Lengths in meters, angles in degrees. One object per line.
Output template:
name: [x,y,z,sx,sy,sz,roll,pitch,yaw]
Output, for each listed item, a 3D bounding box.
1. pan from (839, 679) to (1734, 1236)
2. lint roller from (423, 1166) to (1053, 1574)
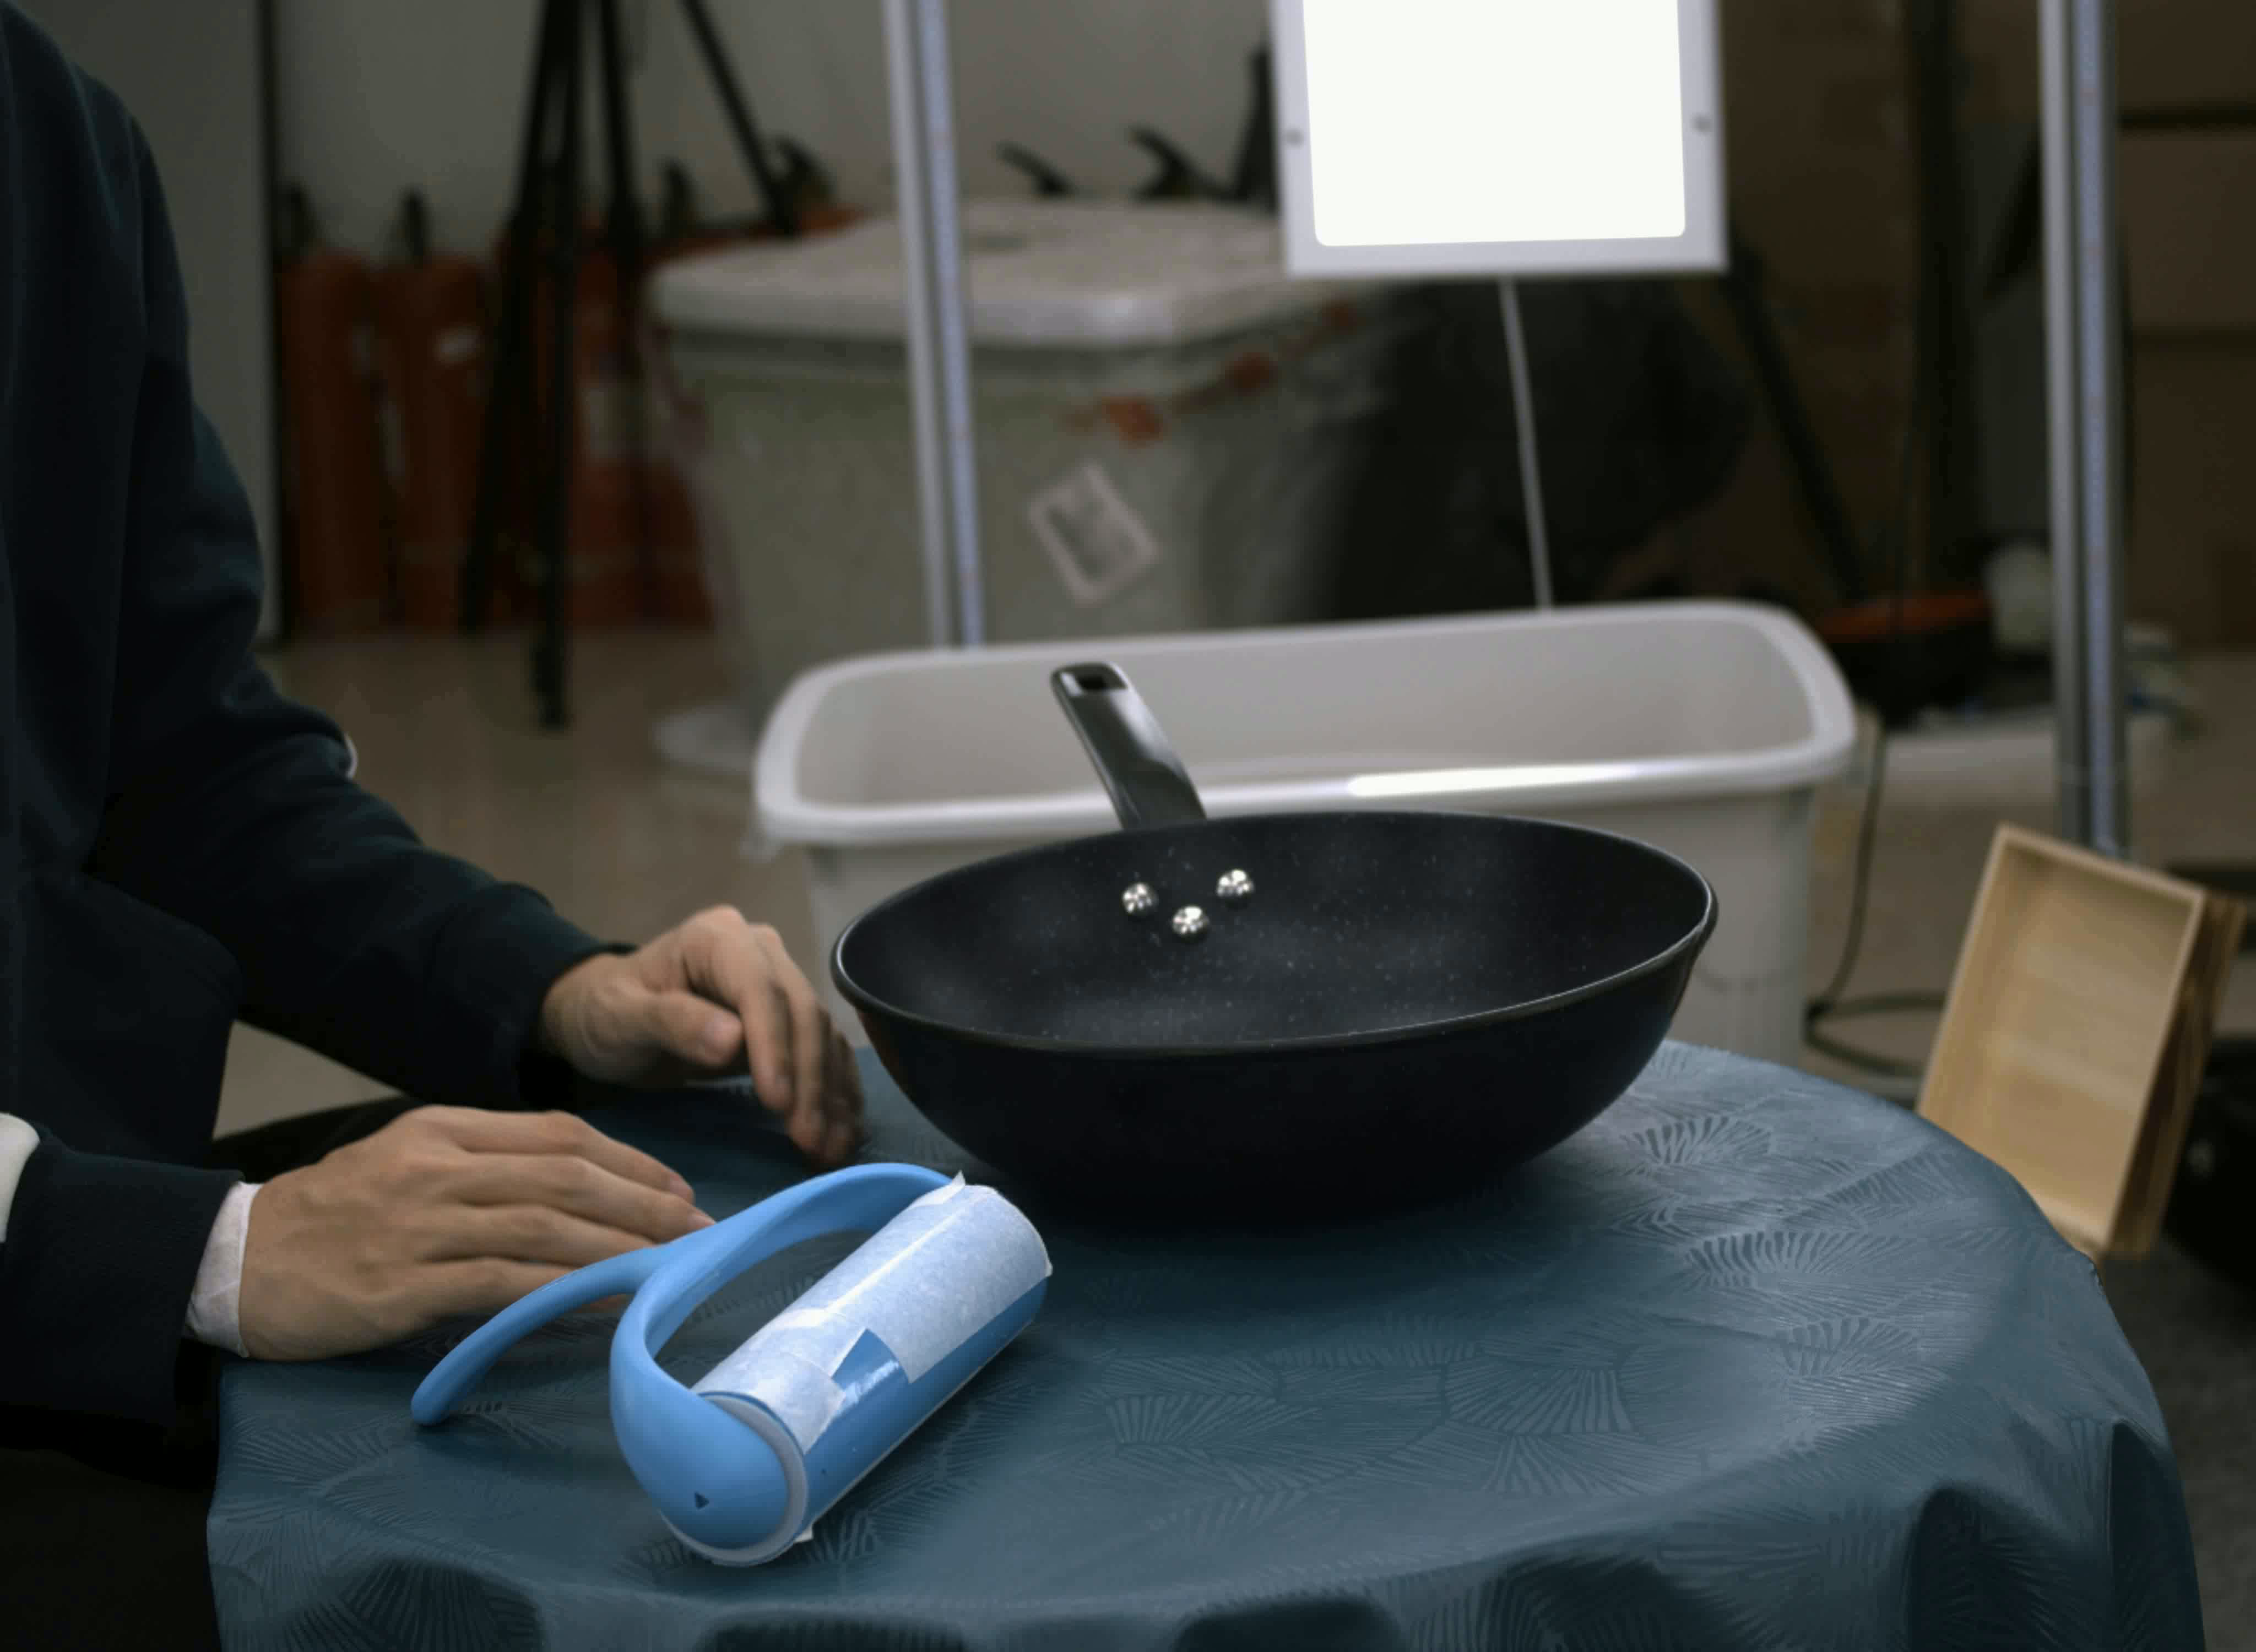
pan: [0.037,0.047,1.982,0.307,0.112,0.480,-6,14,-11]
lint roller: [-0.135,0.162,1.683,0.182,0.068,0.225,1,17,18]
